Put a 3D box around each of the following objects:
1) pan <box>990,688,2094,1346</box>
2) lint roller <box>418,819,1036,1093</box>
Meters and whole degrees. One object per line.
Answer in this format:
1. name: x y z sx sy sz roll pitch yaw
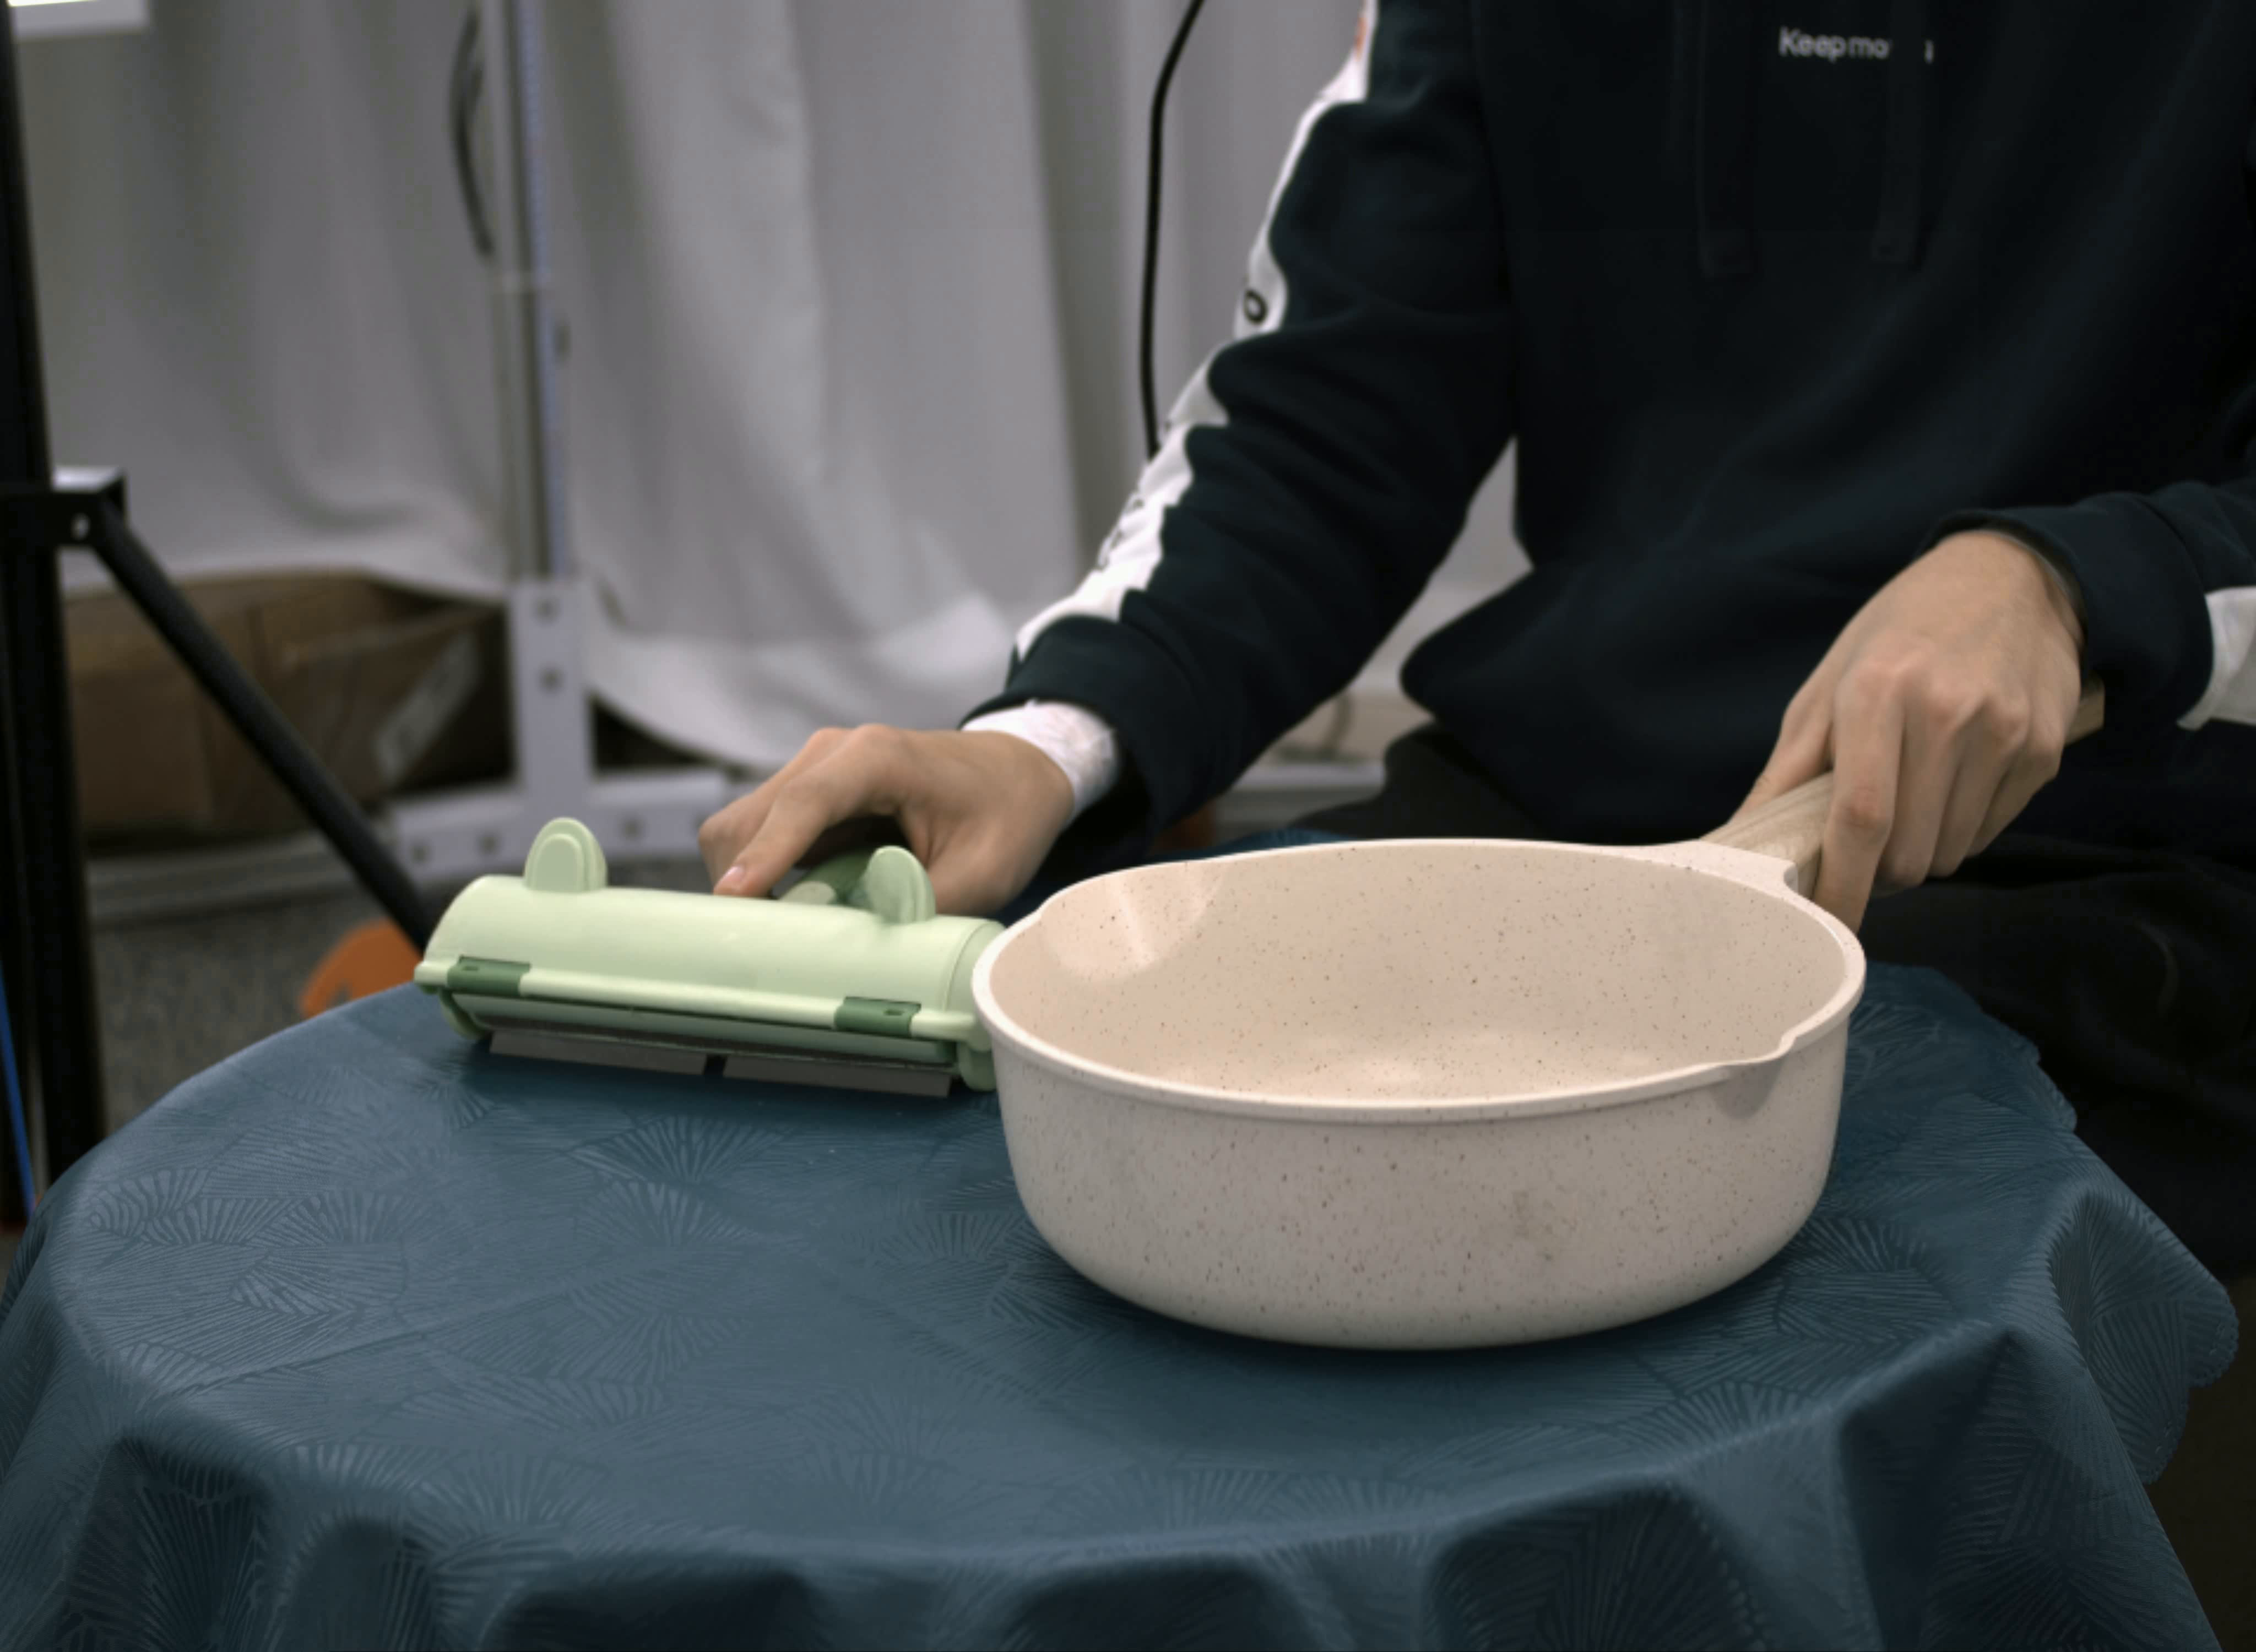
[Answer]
1. pan: 0.152 0.051 1.551 0.425 0.102 0.269 -16 19 -41
2. lint roller: -0.106 0.020 1.731 0.201 0.082 0.181 4 27 24
